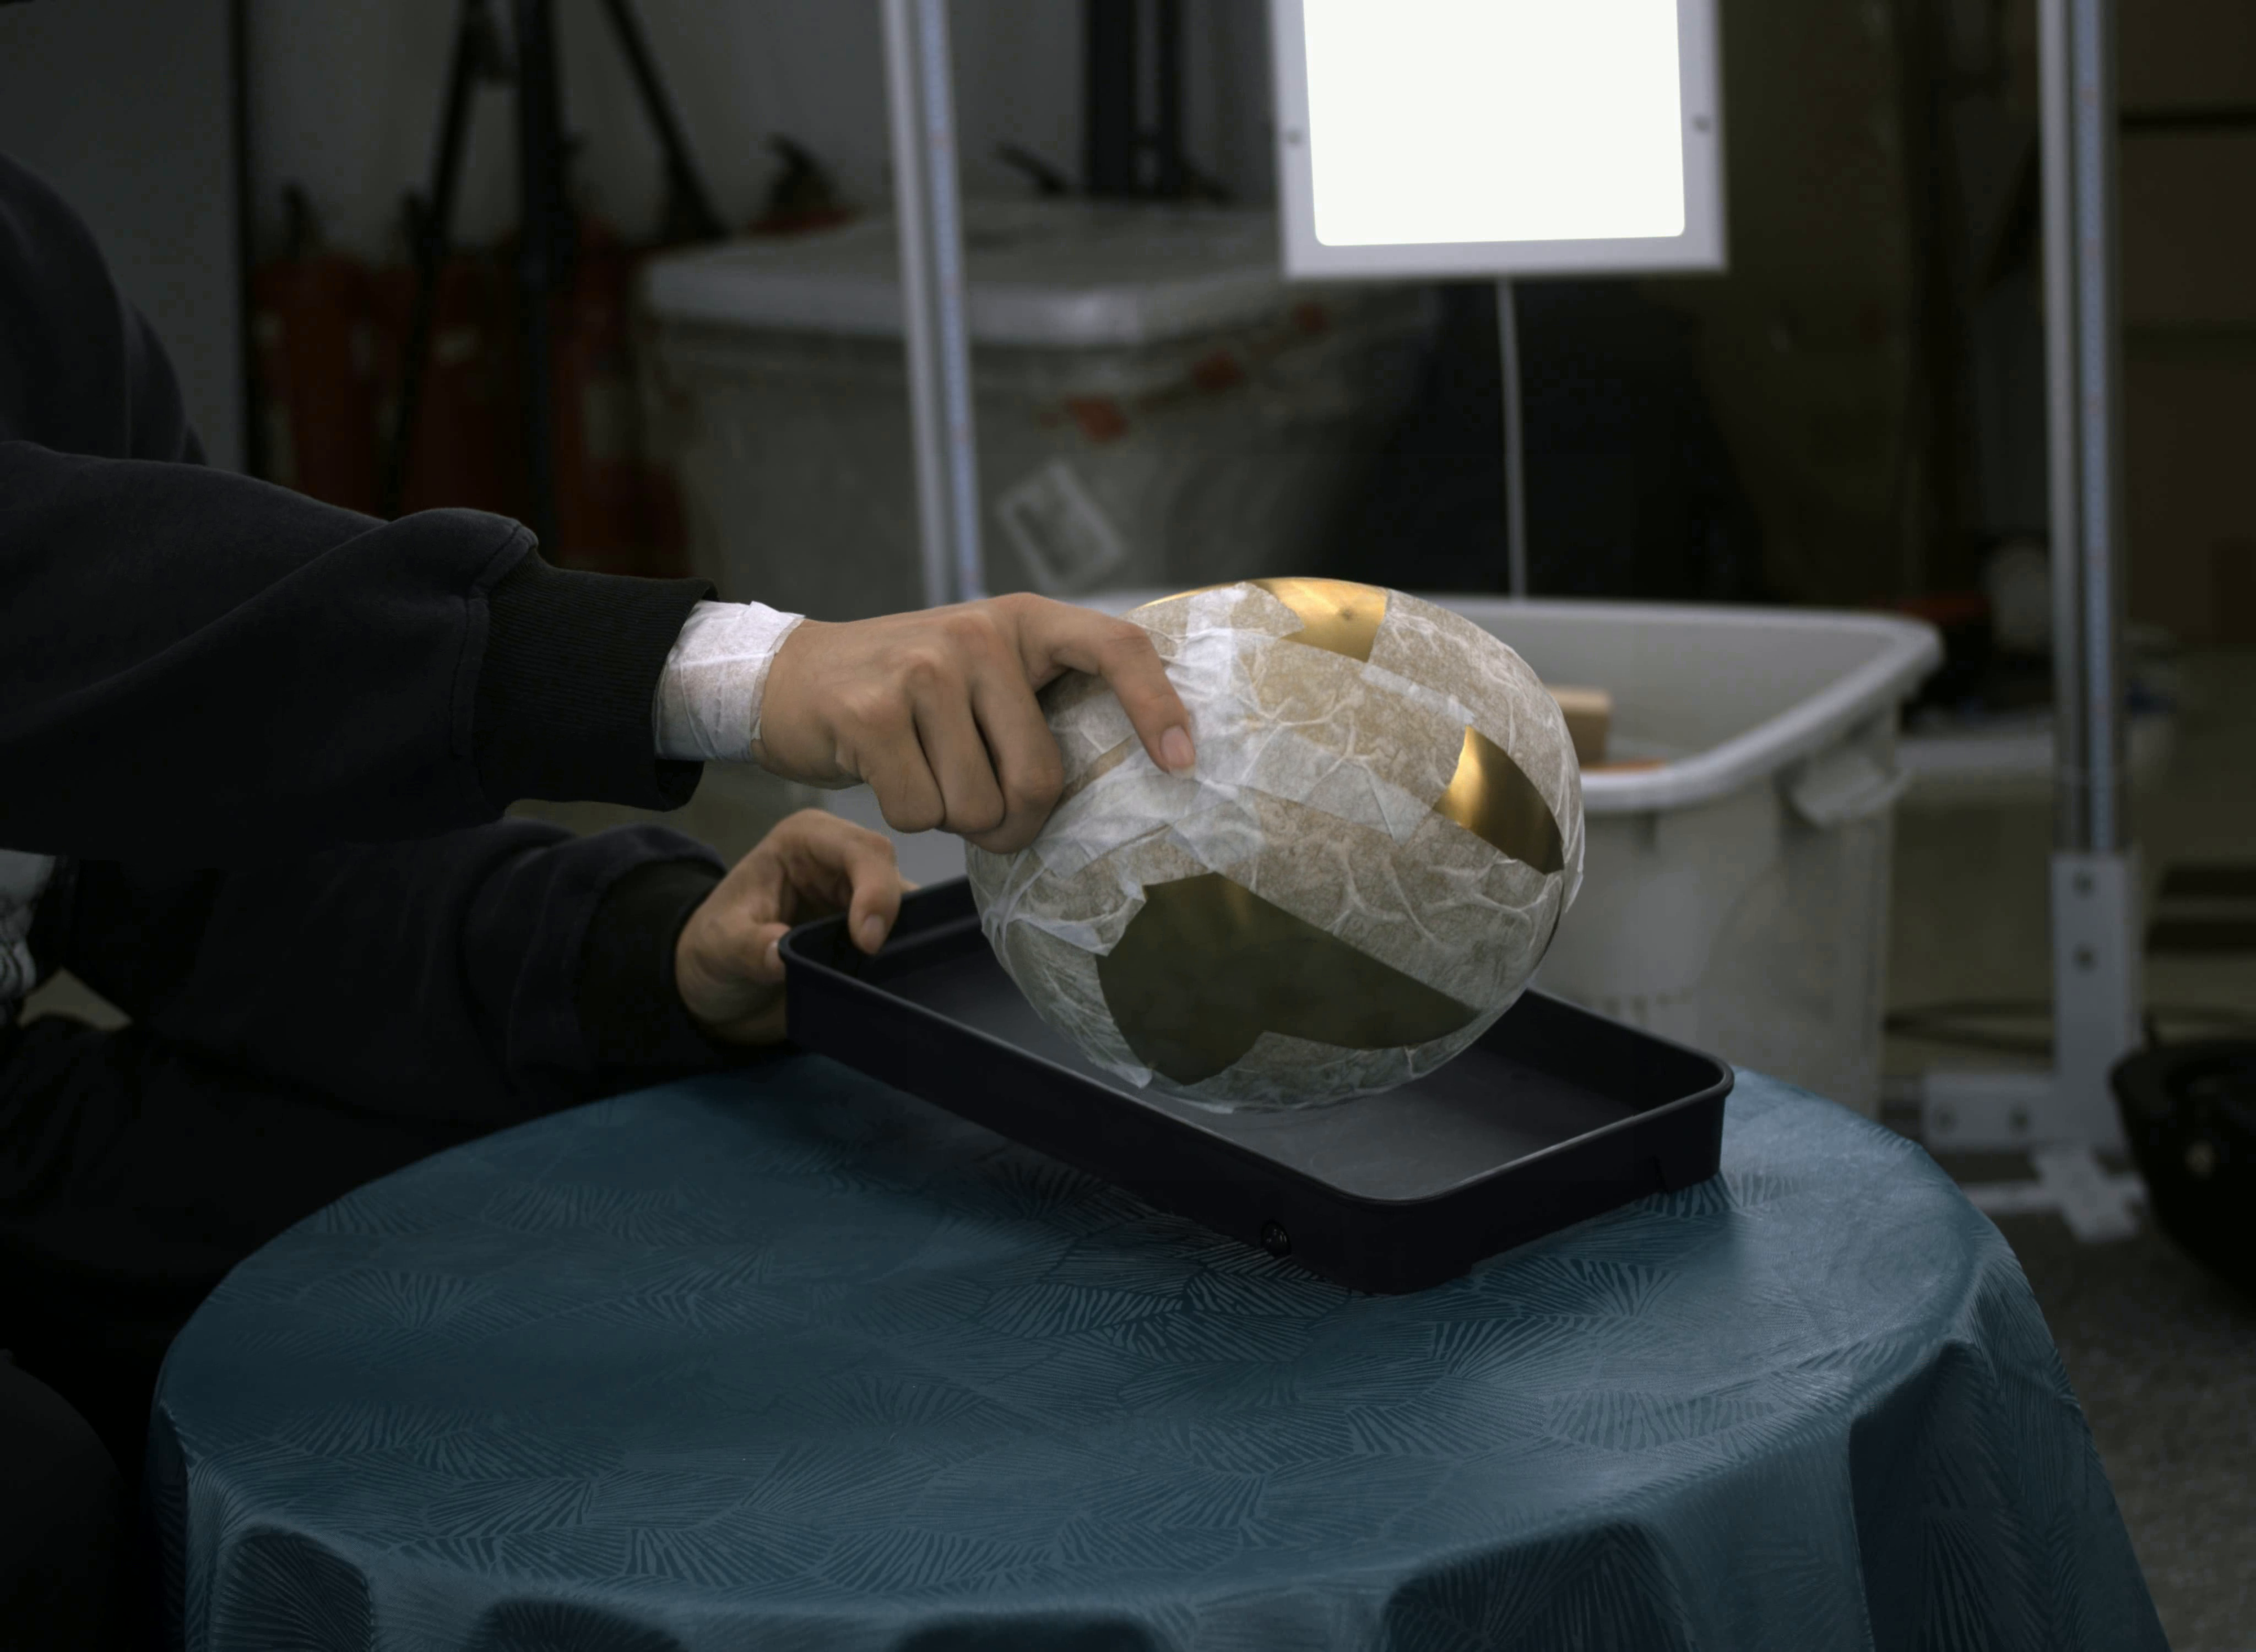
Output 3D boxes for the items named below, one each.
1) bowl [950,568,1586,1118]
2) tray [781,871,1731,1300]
[{"bbox_3d":[0.046,0.027,1.752,0.214,0.215,0.094,-3,44,2],"label":"bowl"},{"bbox_3d":[0.040,0.078,1.917,0.179,0.037,0.324,-16,26,-39],"label":"tray"}]
